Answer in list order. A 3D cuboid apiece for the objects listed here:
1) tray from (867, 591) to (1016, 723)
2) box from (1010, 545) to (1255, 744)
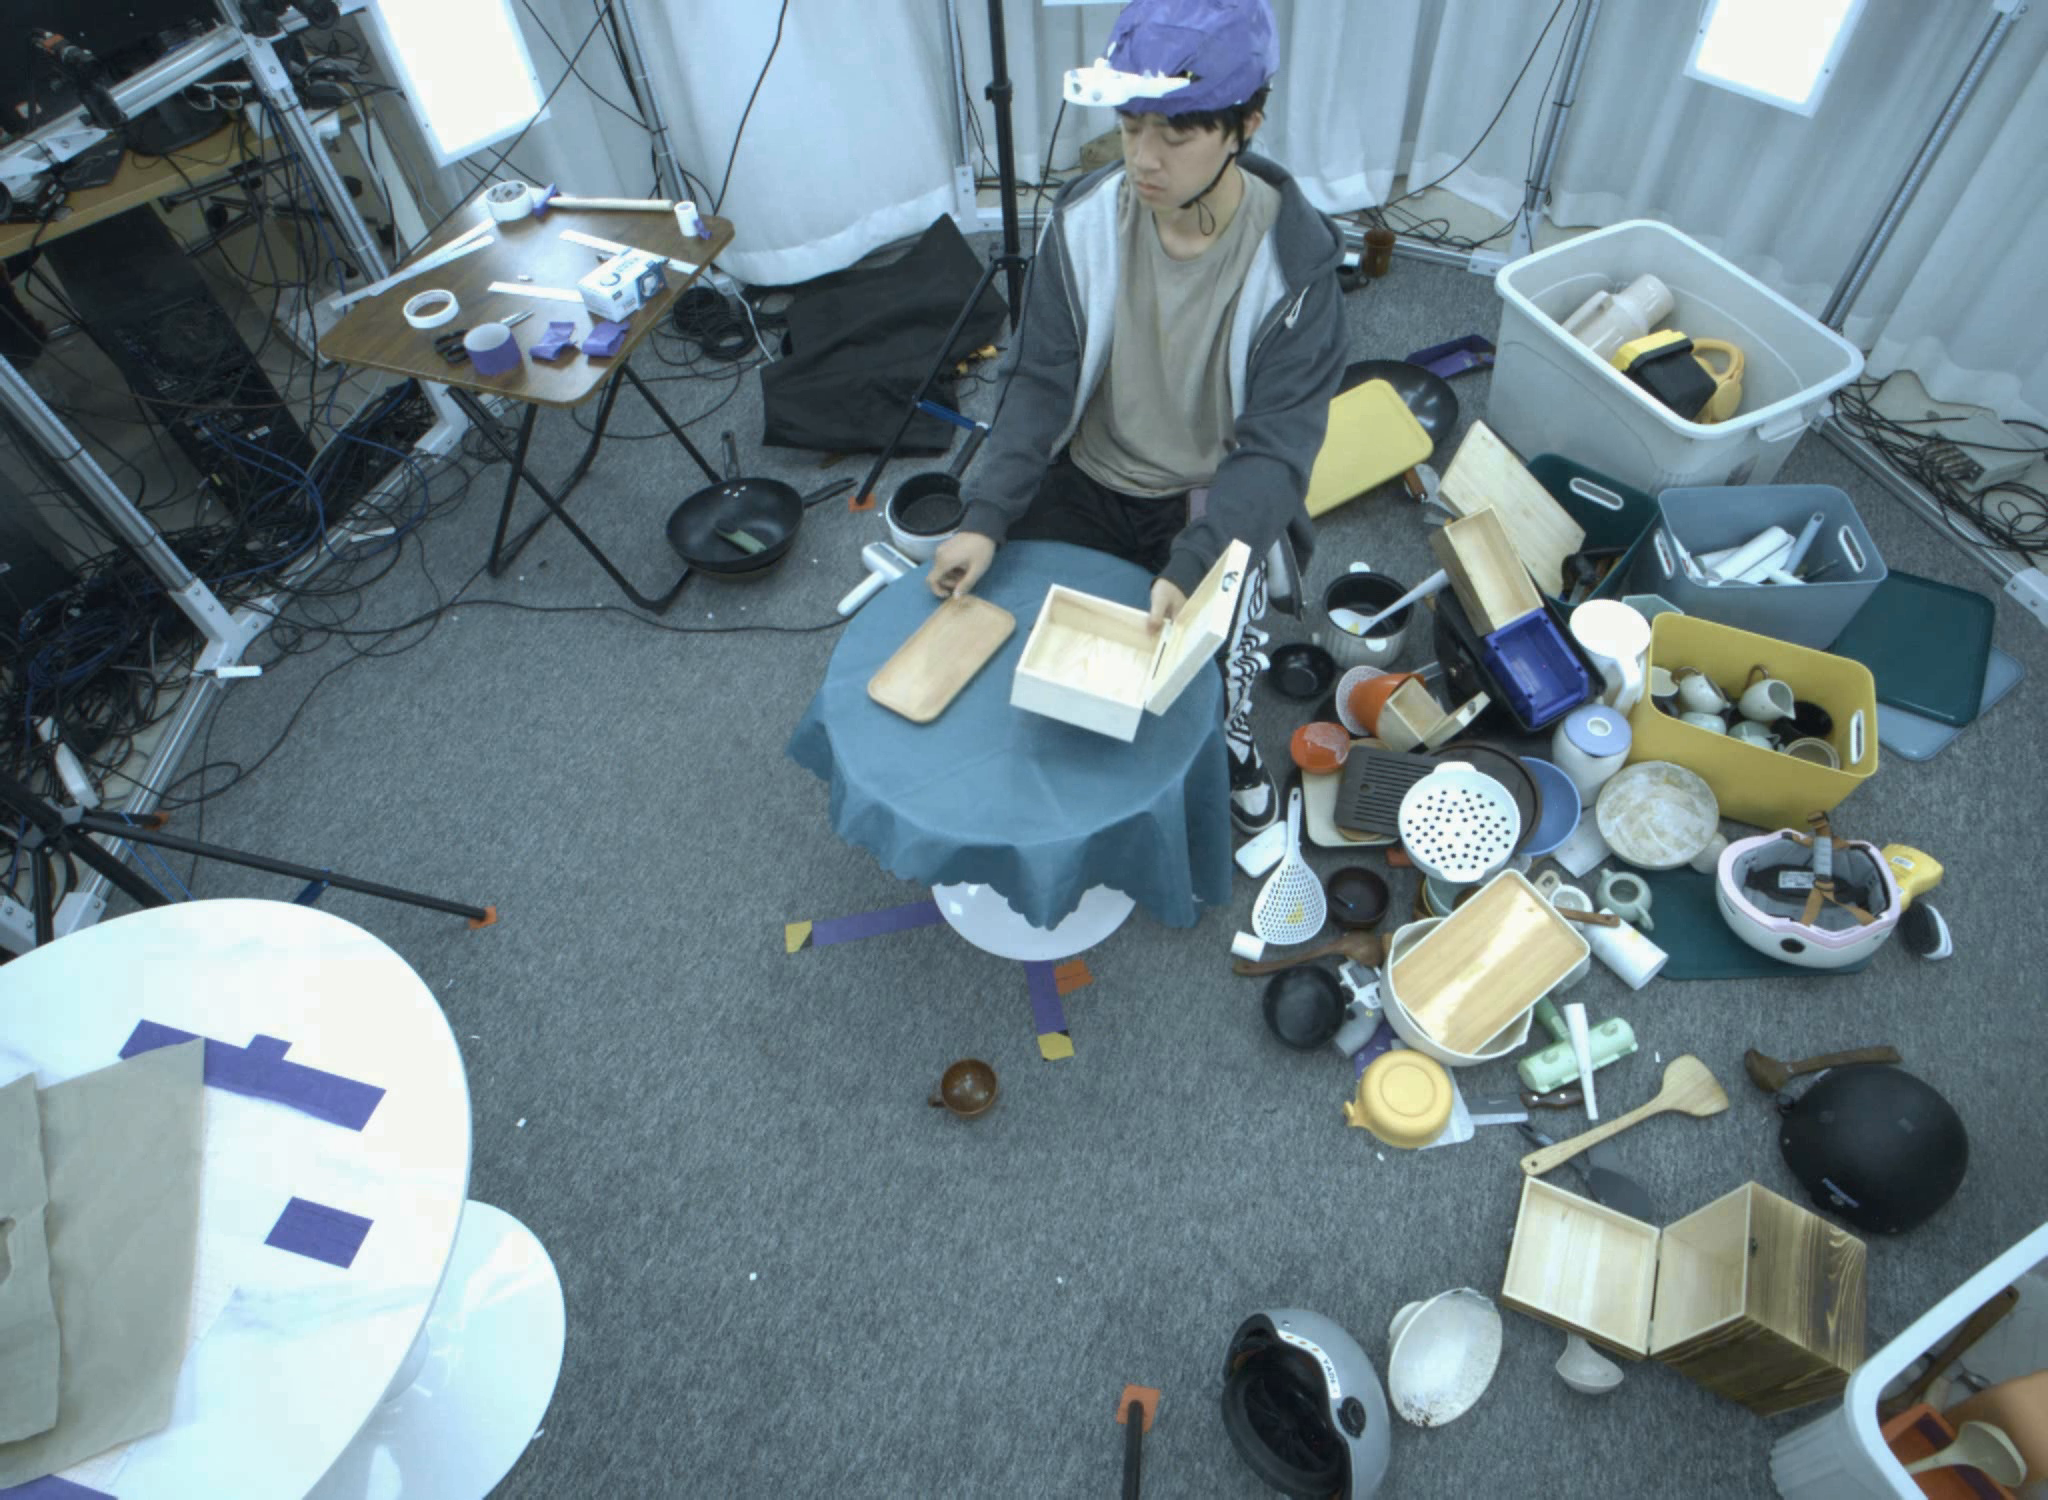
[{"bbox_3d":[-0.126,-0.145,1.886,0.129,0.023,0.252,30,60,18],"label":"tray"},{"bbox_3d":[0.141,-0.166,1.682,0.265,0.254,0.181,18,50,2],"label":"box"}]
